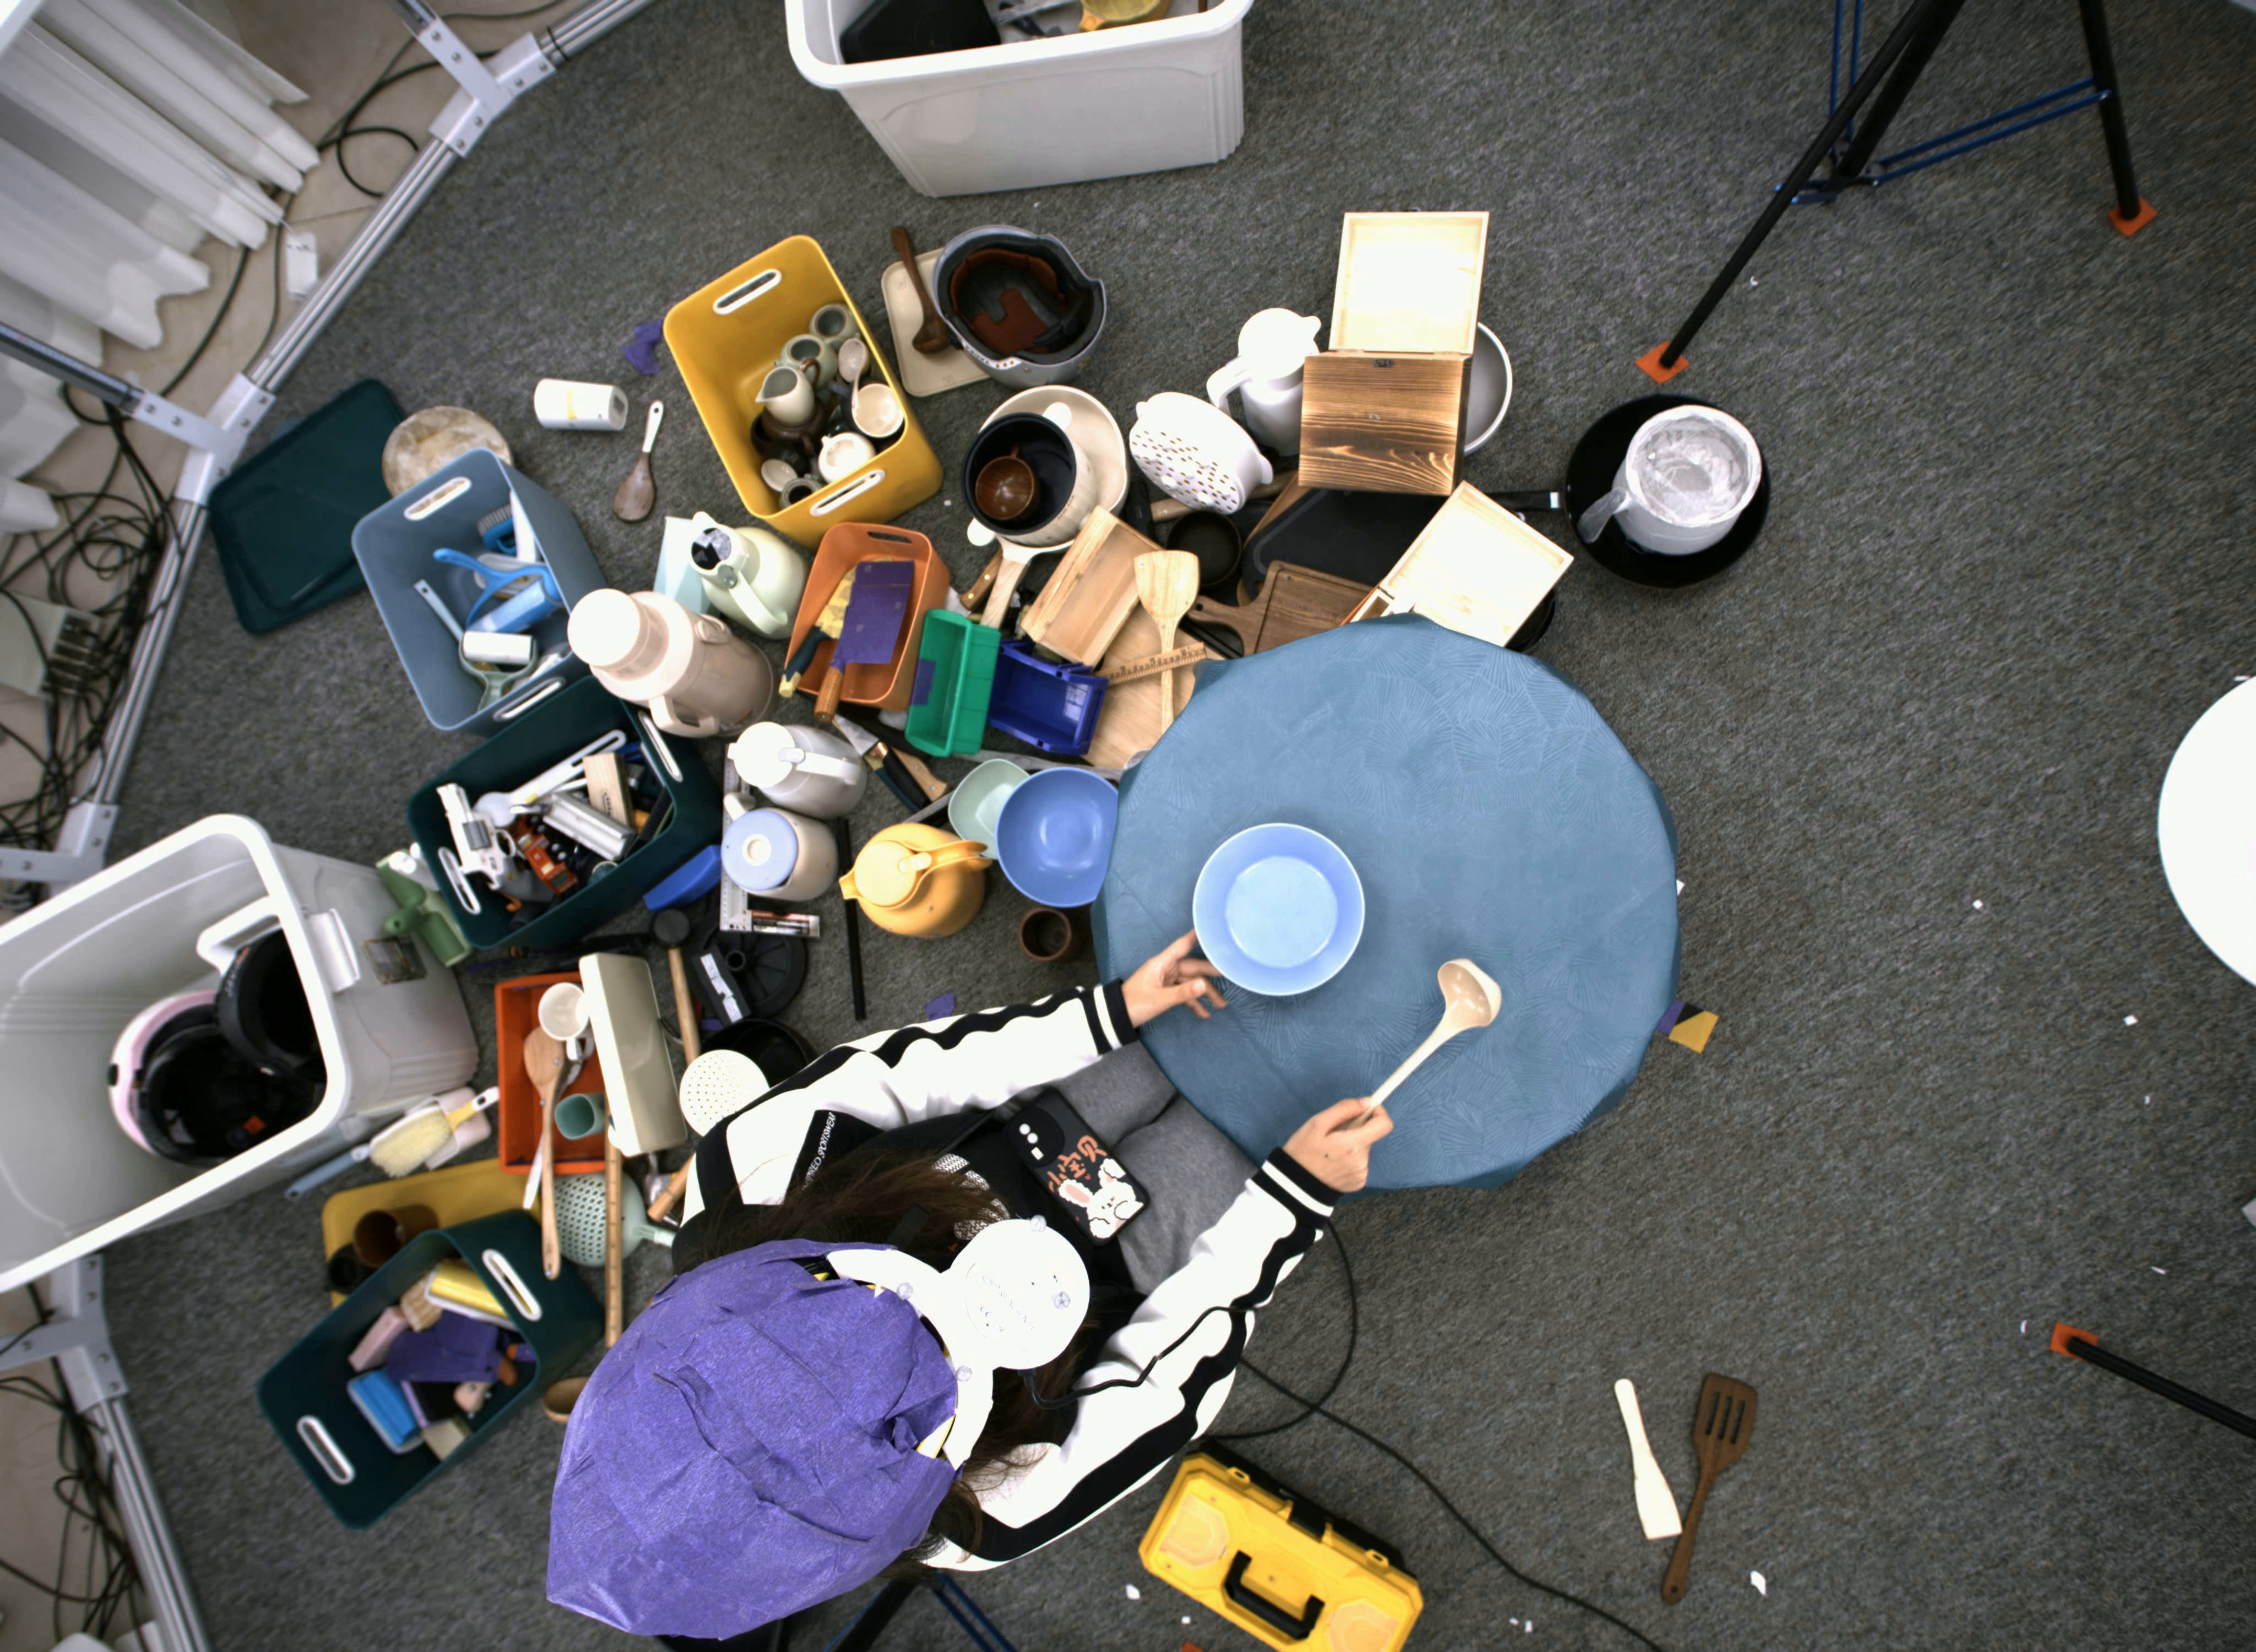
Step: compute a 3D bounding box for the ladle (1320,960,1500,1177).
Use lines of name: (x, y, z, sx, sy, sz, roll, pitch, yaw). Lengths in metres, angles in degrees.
ladle: (0.263, 0.236, 1.348, 0.255, 0.073, 0.071, -48, 54, 1)

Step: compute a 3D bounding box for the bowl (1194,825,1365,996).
bowl: (0.159, 0.089, 1.444, 0.177, 0.070, 0.175, -1, 85, 11)
